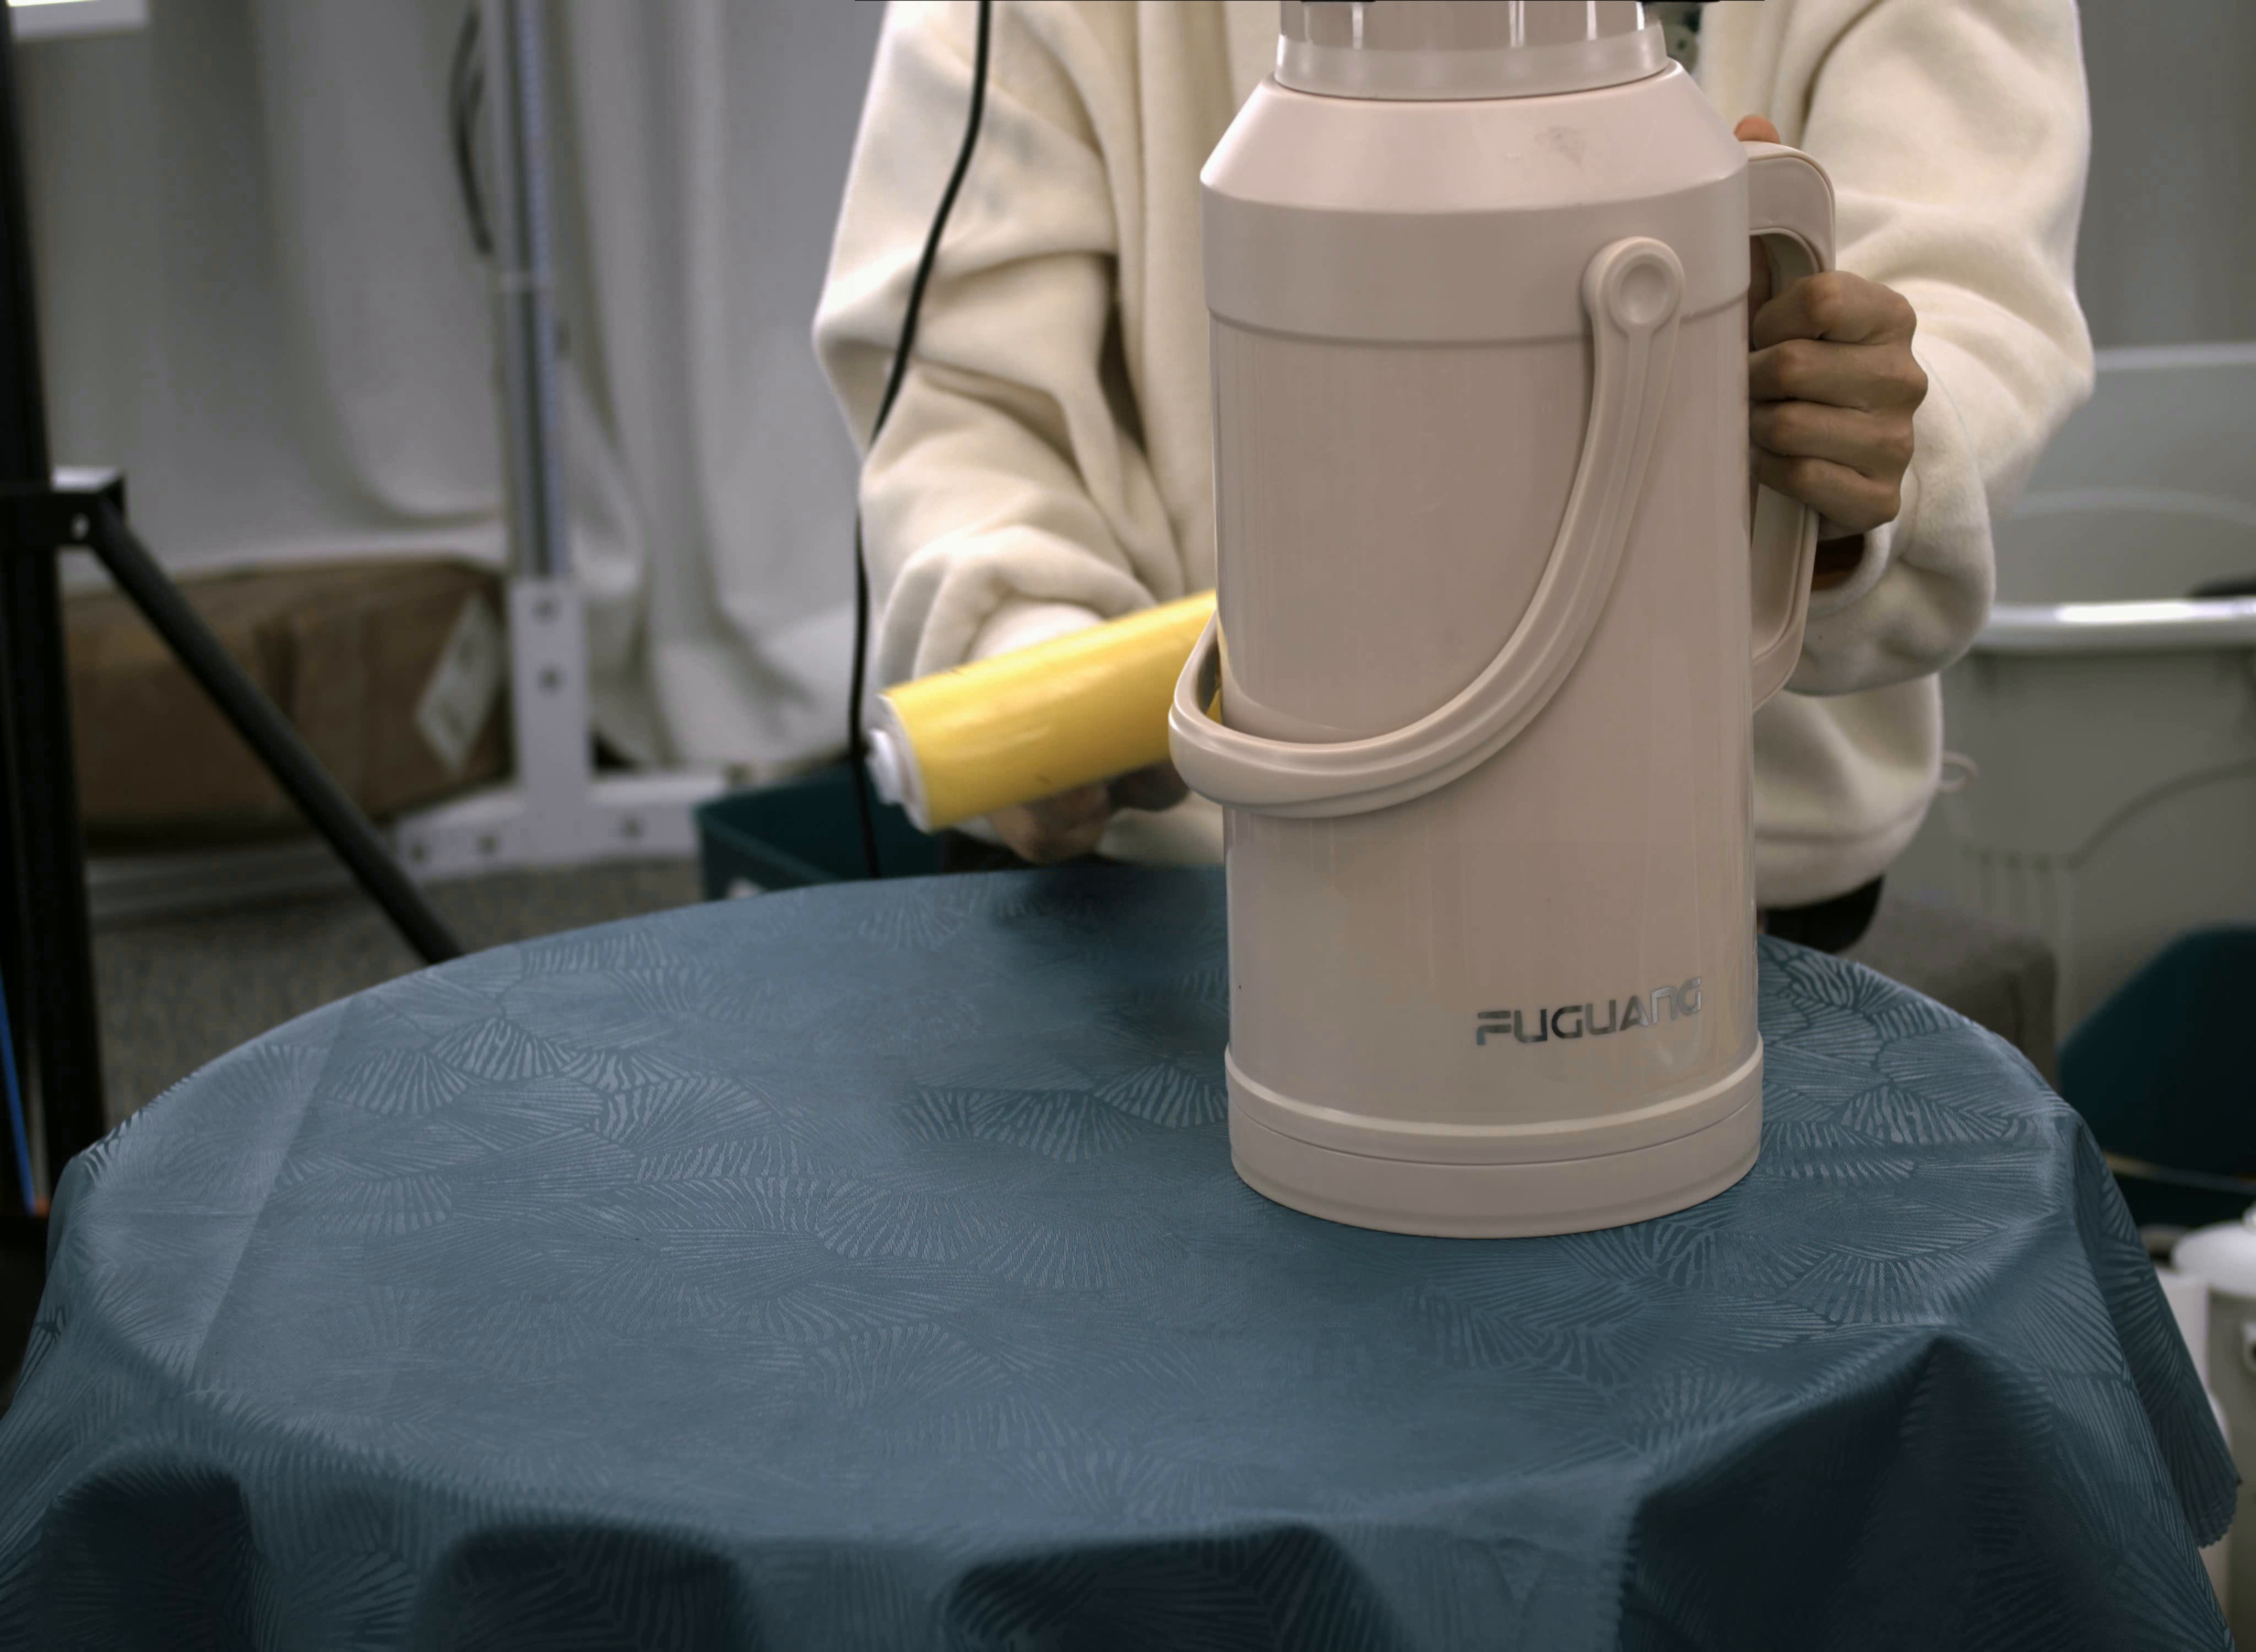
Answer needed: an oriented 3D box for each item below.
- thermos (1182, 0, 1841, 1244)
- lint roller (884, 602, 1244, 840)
[{"bbox_3d":[0.115,-0.096,1.533,0.203,0.406,0.179,-9,16,-25],"label":"thermos"},{"bbox_3d":[-0.007,-0.039,1.747,0.172,0.051,0.194,-17,6,-11],"label":"lint roller"}]
